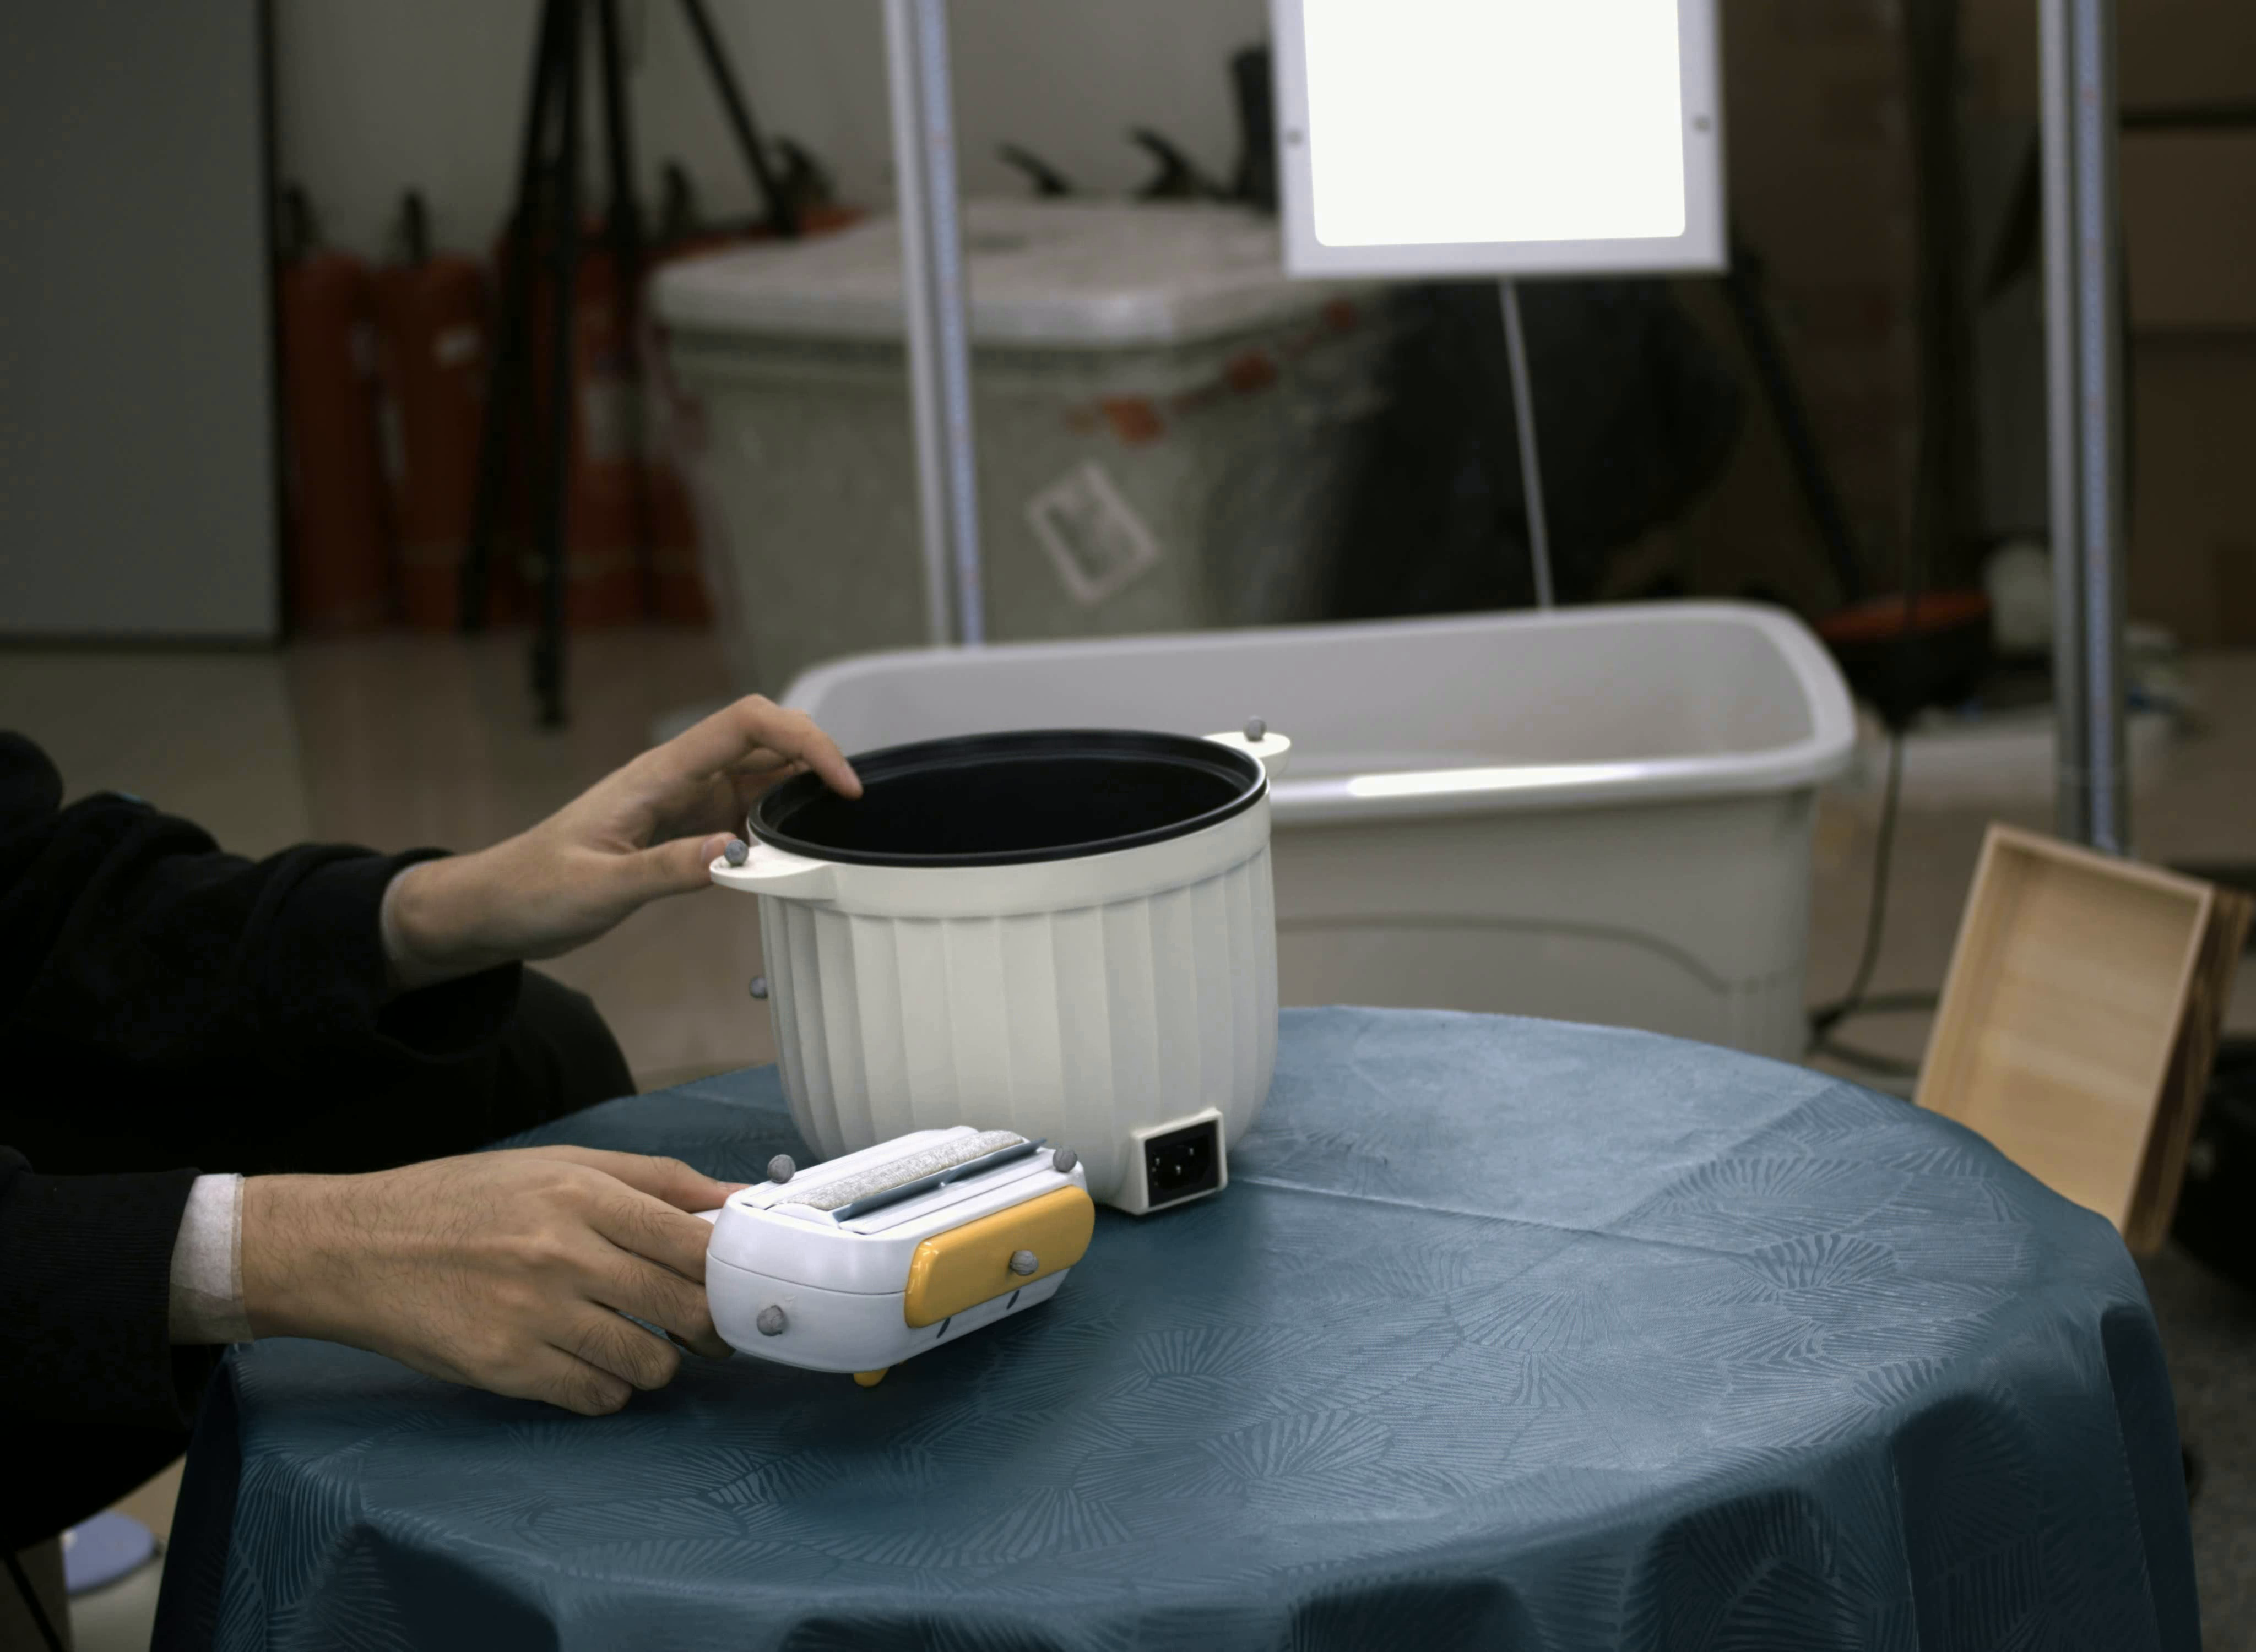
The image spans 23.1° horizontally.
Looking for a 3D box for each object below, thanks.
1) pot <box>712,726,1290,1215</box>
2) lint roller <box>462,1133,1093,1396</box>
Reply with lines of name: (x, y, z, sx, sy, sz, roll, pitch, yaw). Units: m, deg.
pot: (-0.041, 0.051, 1.924, 0.234, 0.143, 0.194, -13, 19, -34)
lint roller: (-0.126, 0.136, 1.749, 0.195, 0.074, 0.189, 3, 10, 26)
